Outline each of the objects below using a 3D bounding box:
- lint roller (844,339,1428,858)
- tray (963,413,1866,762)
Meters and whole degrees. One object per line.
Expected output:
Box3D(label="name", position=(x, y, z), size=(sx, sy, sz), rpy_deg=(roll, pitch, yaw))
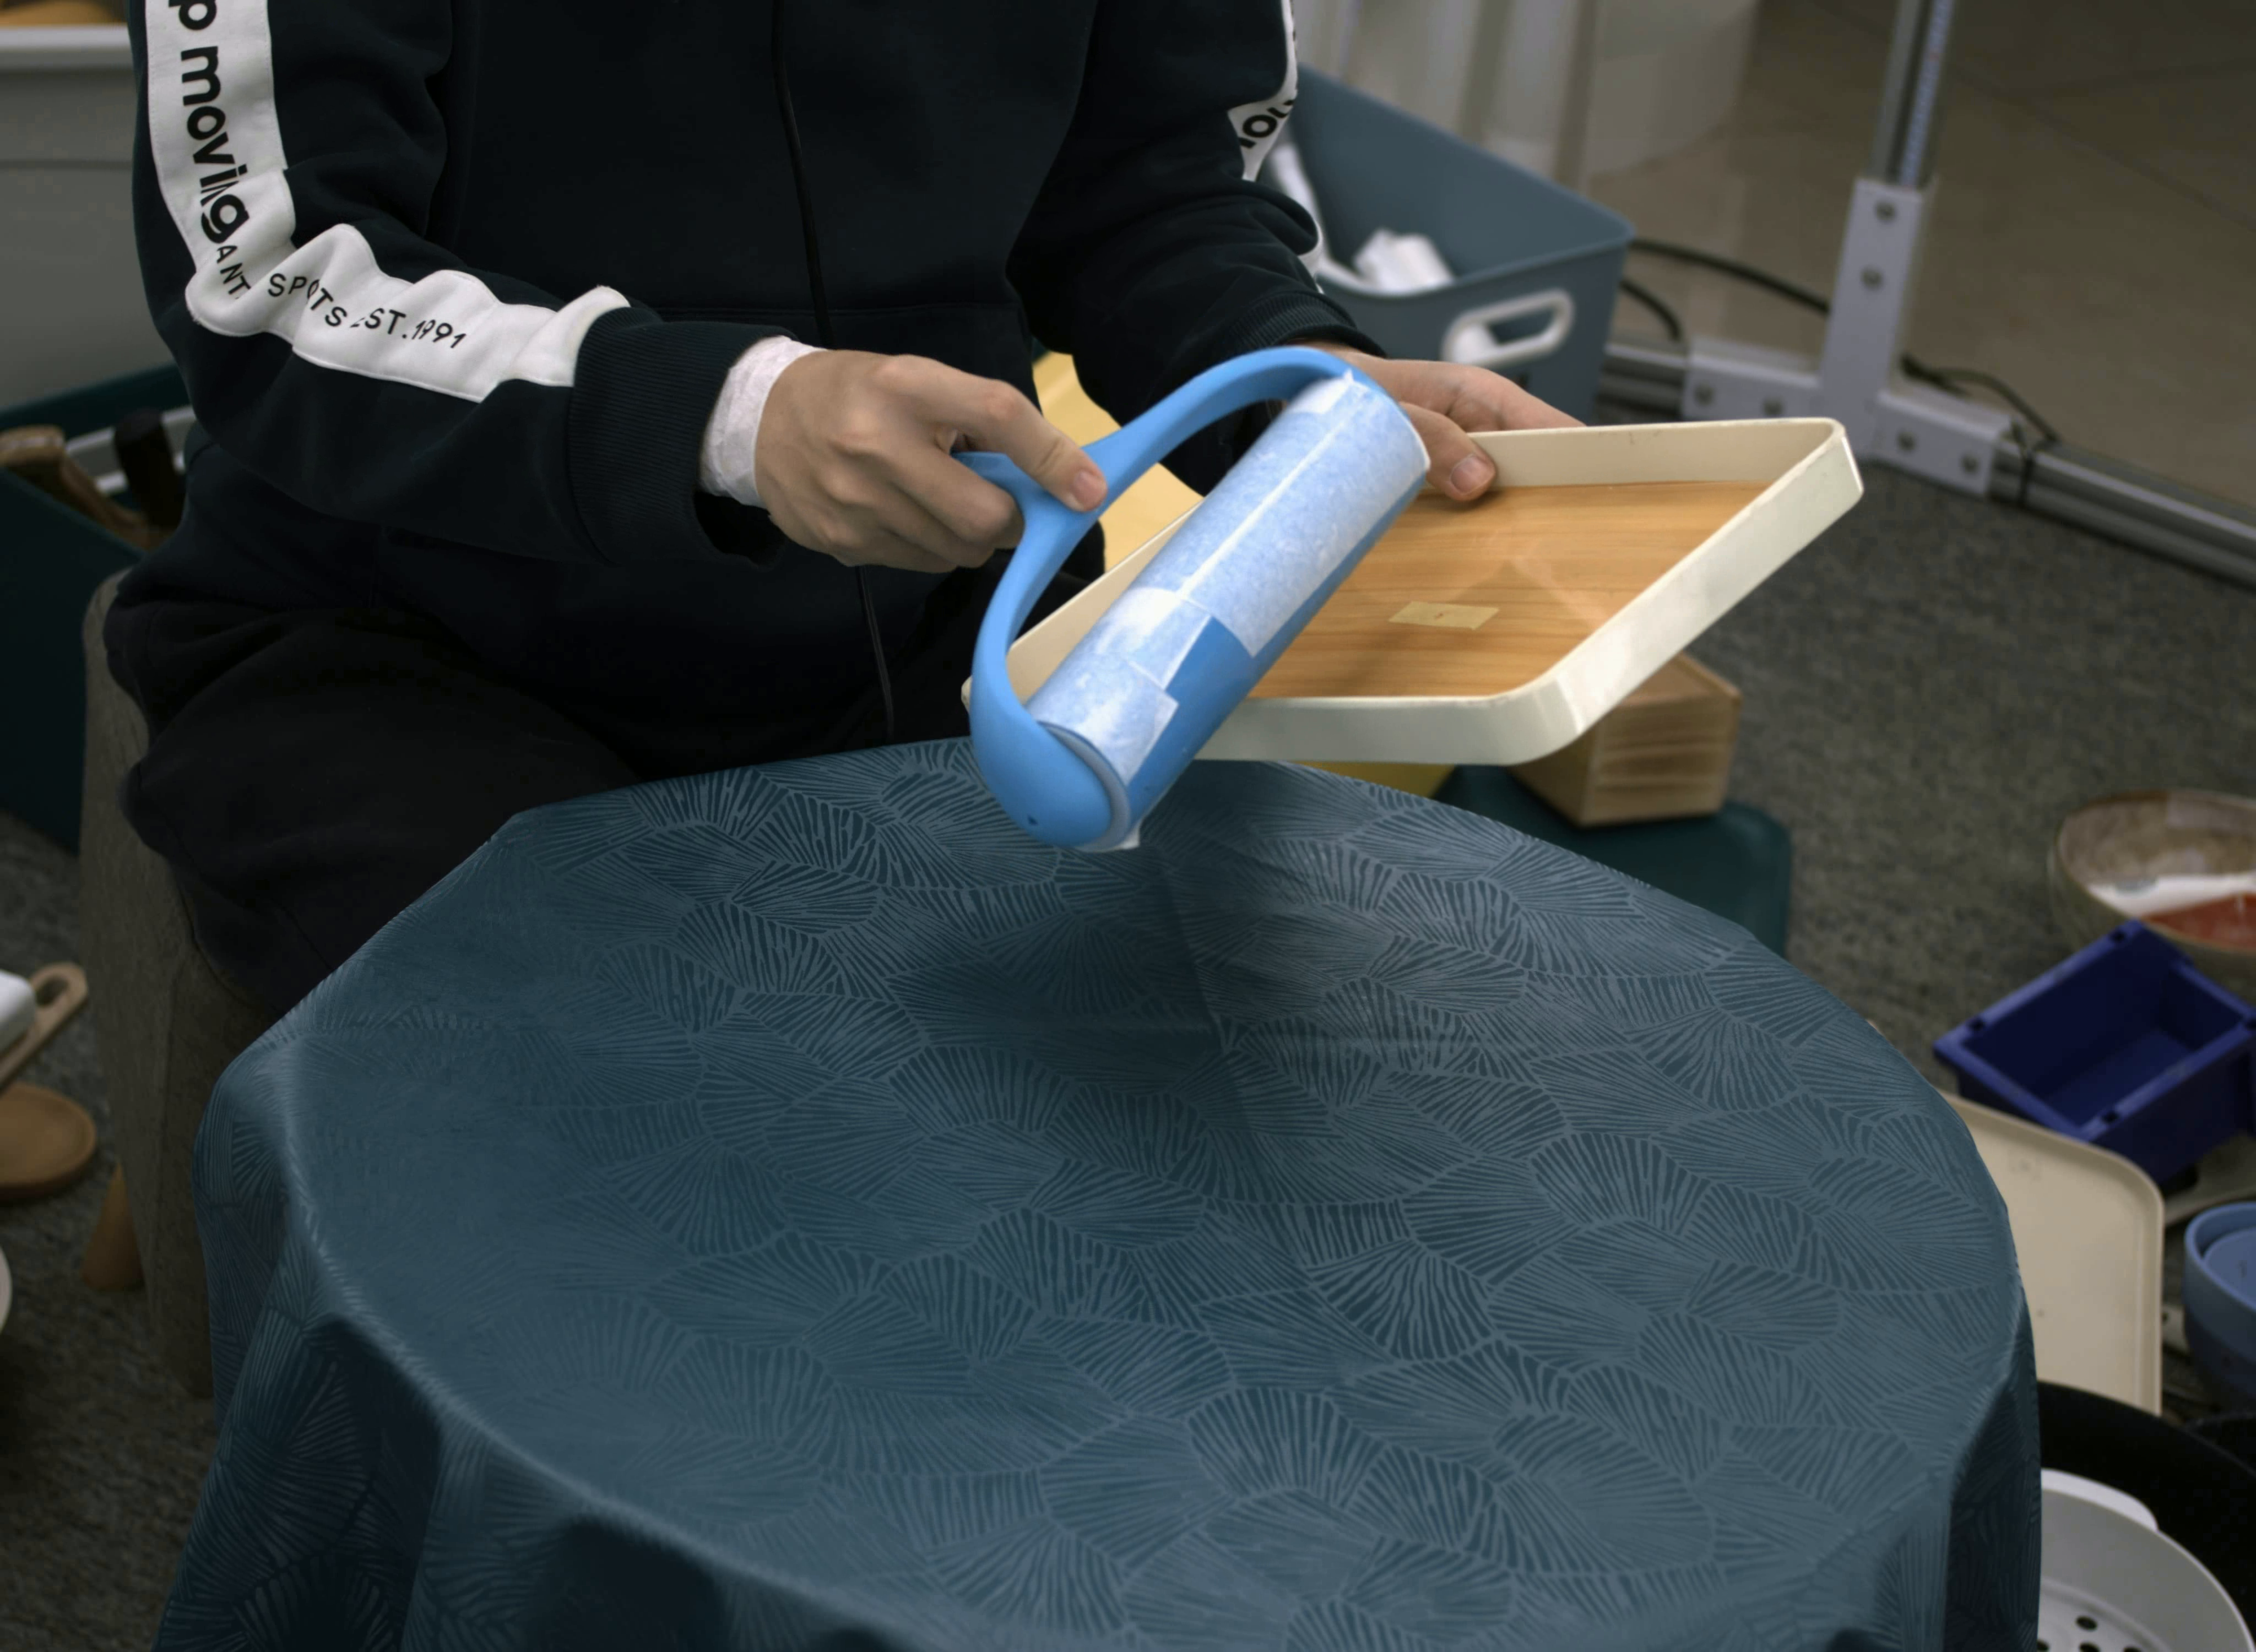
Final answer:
Box3D(label="lint roller", position=(-0.020, -0.091, 1.787), size=(0.181, 0.067, 0.229), rpy_deg=(18, 52, 21))
Box3D(label="tray", position=(0.095, -0.081, 1.858), size=(0.191, 0.027, 0.302), rpy_deg=(-39, 24, -32))
